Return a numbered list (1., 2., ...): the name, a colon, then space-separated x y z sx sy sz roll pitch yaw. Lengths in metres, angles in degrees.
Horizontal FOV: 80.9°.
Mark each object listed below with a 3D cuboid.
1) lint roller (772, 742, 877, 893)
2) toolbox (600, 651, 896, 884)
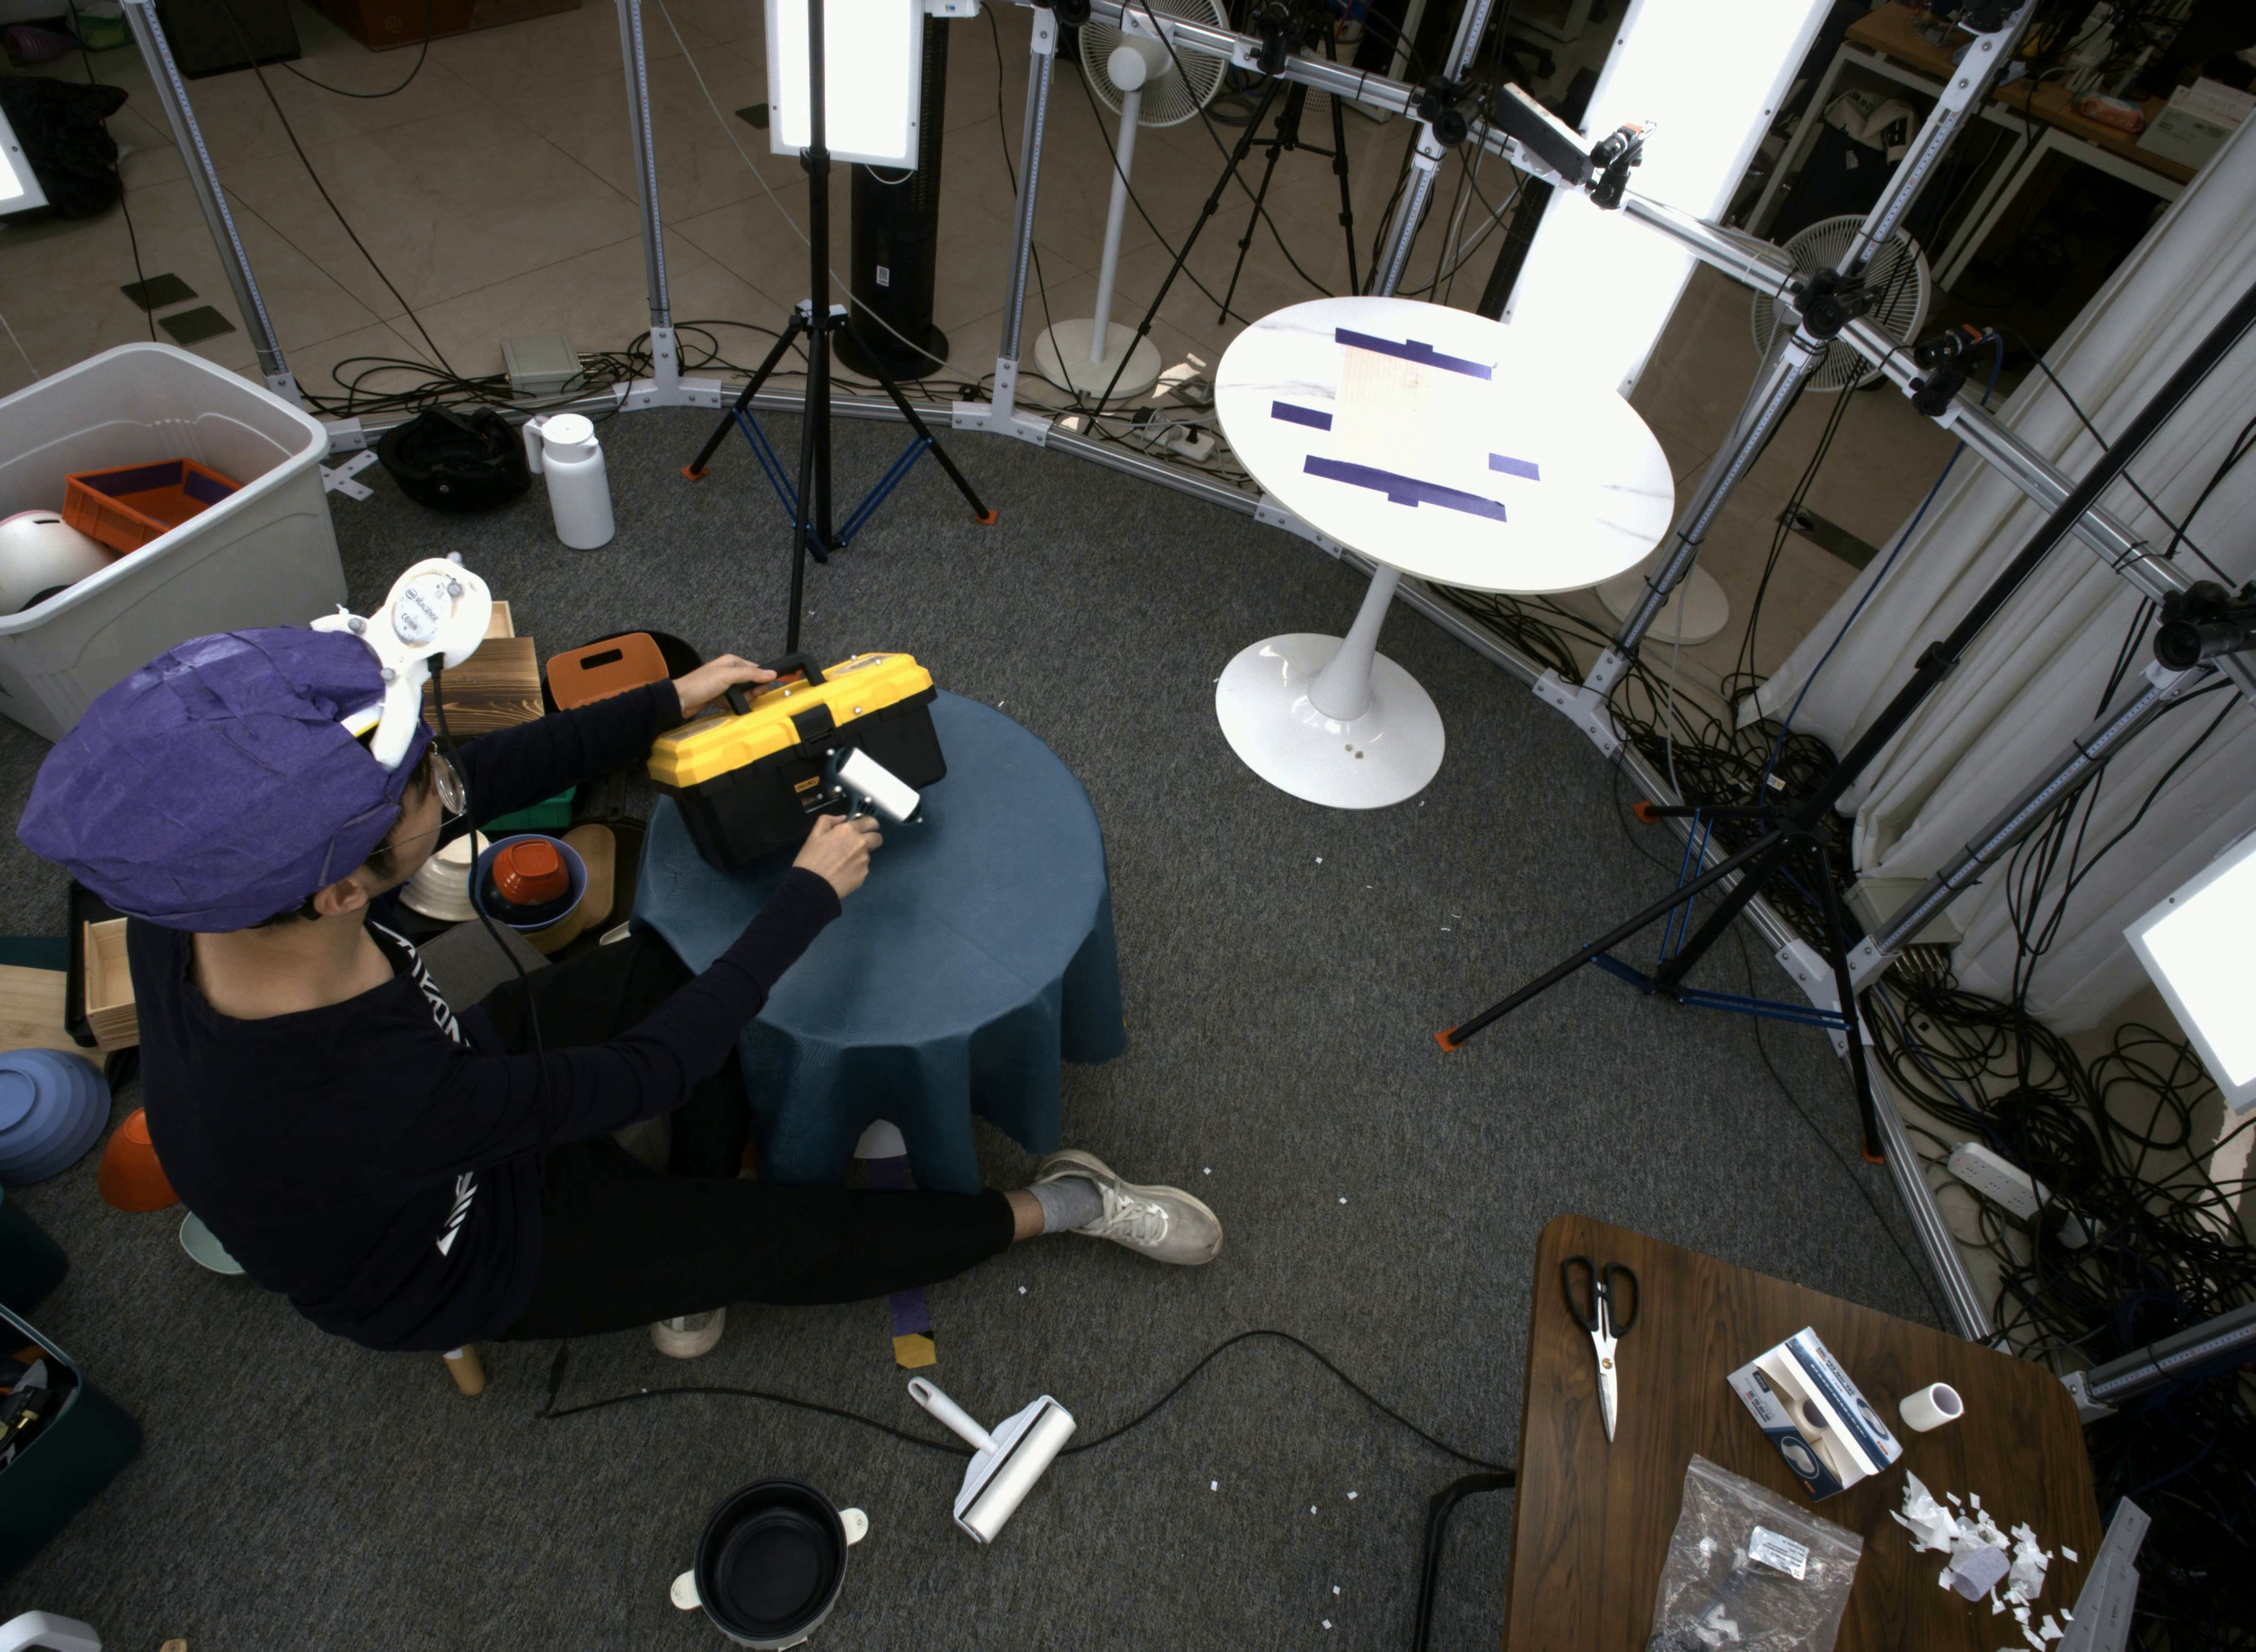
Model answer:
1. lint roller: -0.378 0.000 1.547 0.138 0.048 0.177 38 41 -25
2. toolbox: -0.477 -0.081 1.645 0.352 0.178 0.175 -31 23 -30
